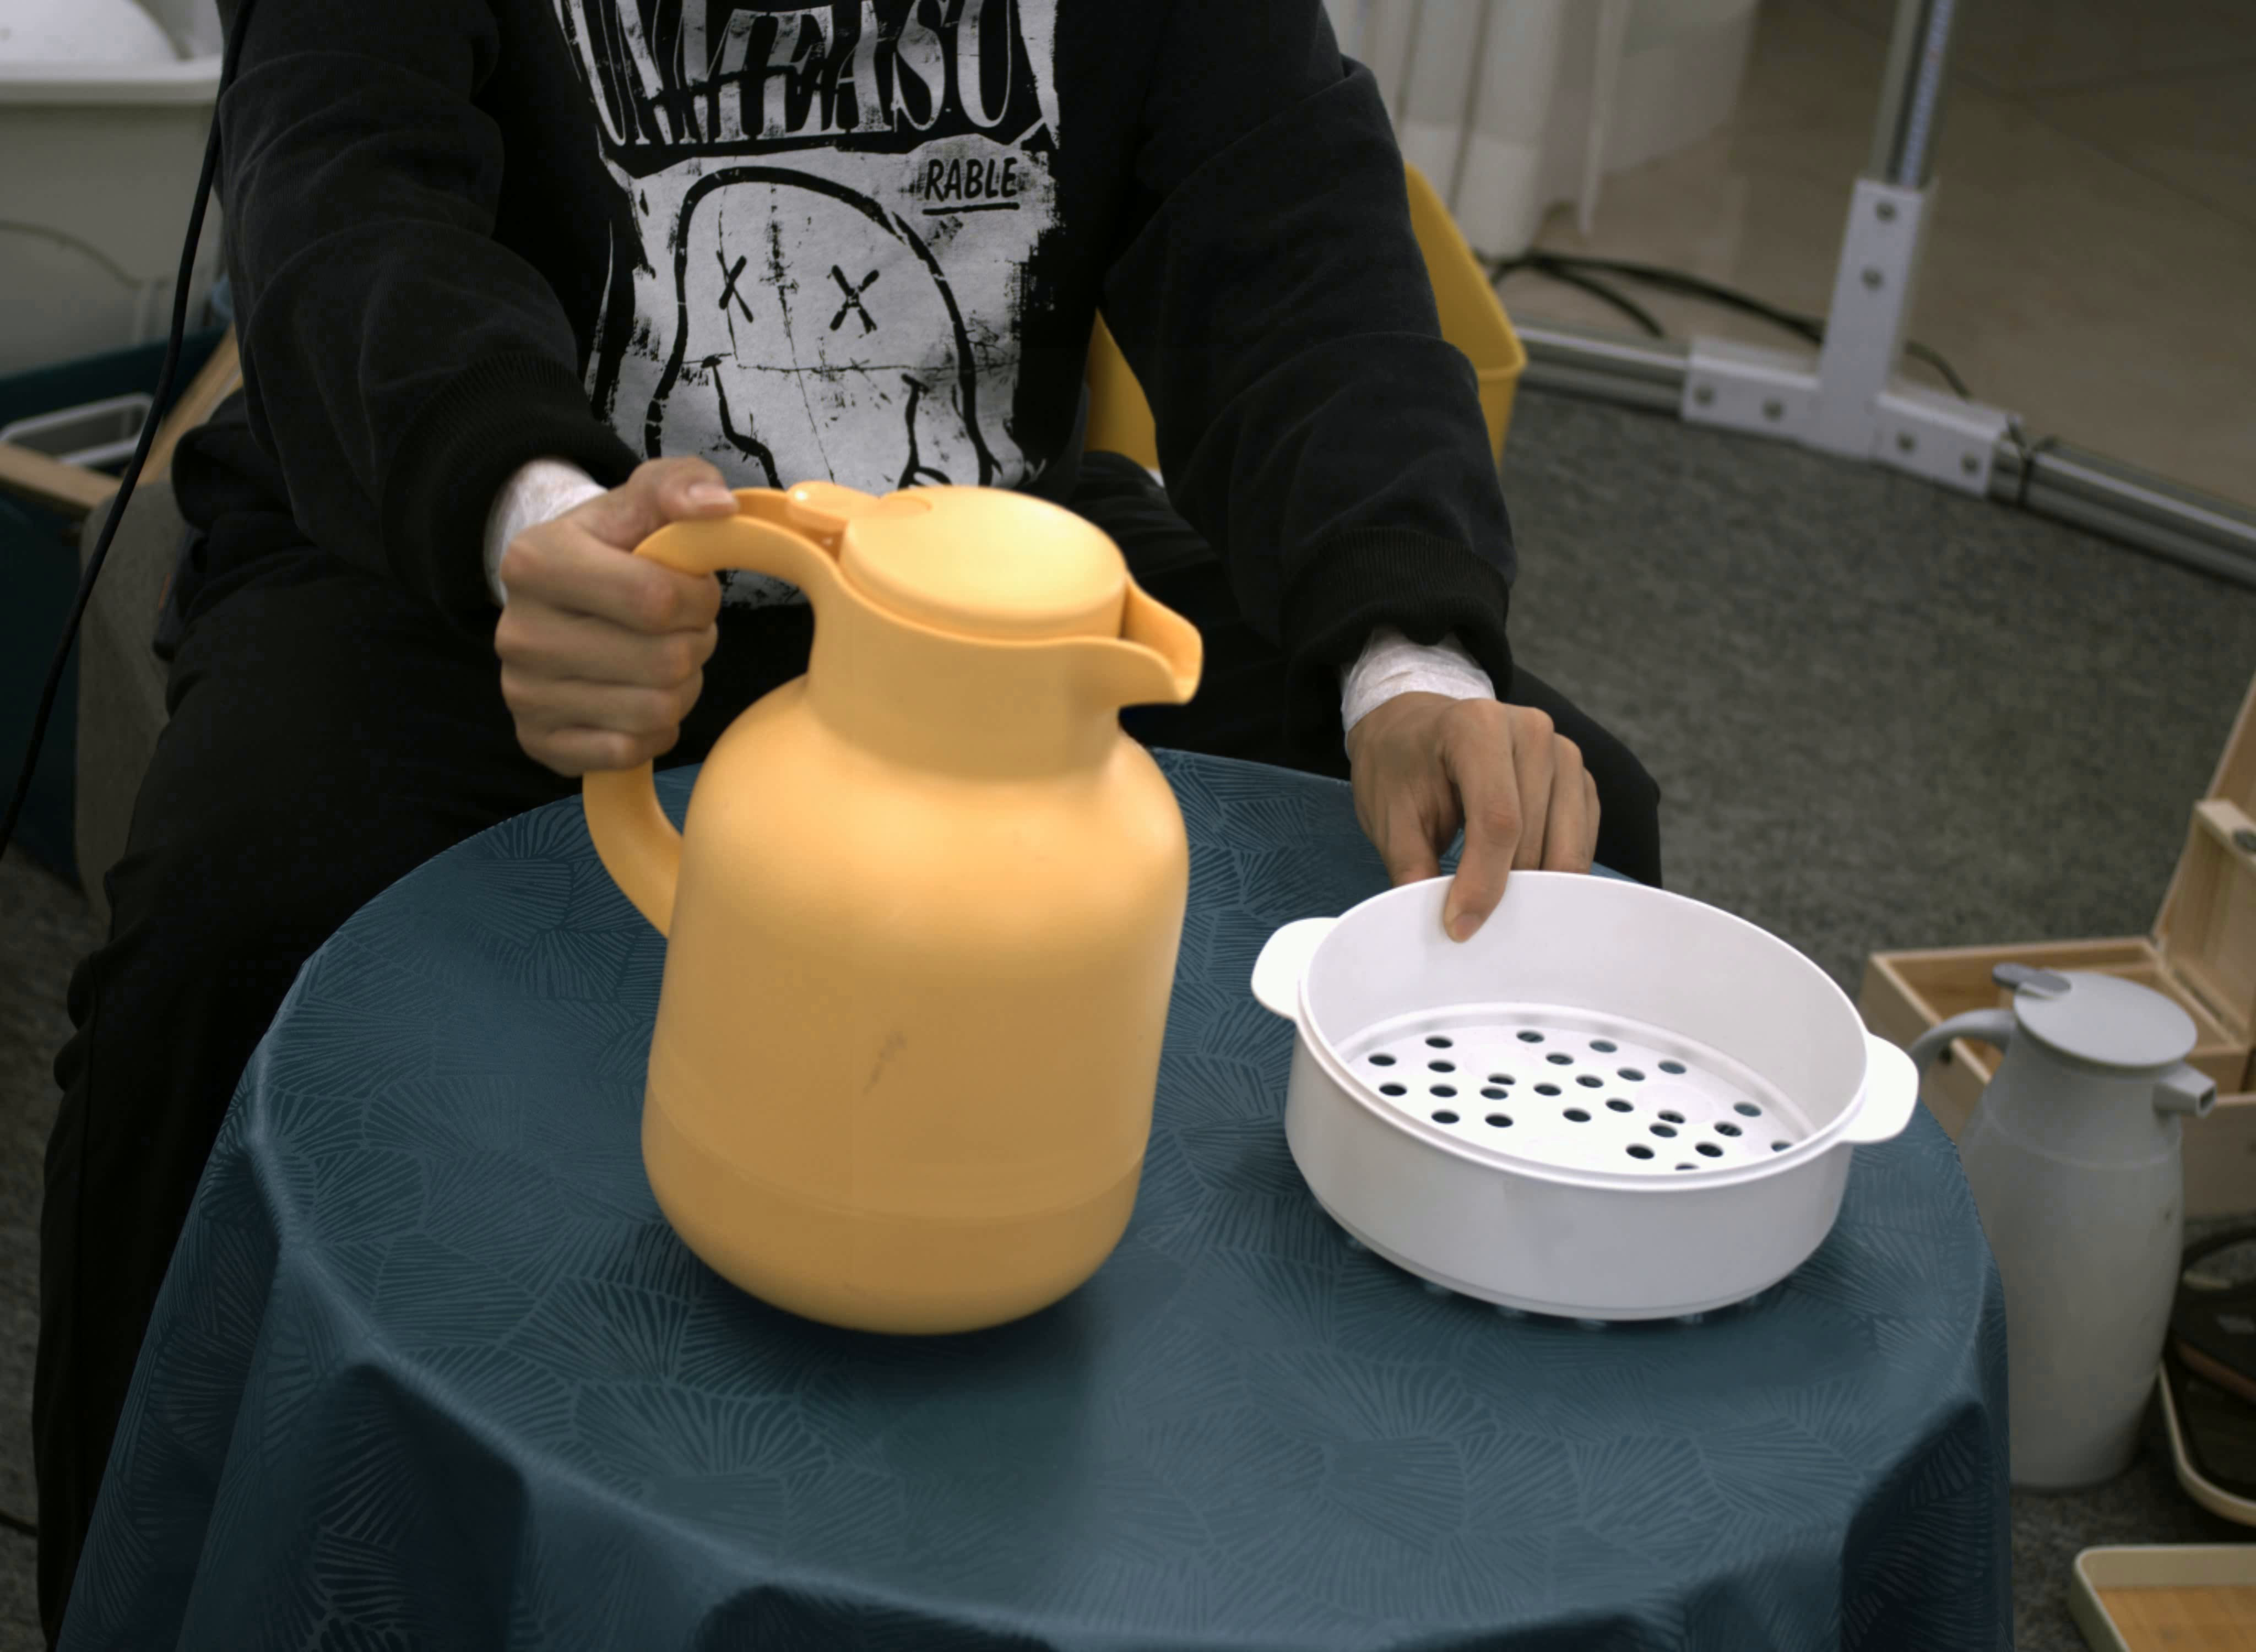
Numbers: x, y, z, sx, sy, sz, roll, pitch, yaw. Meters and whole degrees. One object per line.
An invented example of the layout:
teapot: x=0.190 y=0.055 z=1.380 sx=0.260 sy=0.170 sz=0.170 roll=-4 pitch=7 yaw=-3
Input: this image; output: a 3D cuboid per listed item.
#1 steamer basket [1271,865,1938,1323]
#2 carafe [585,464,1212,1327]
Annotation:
steamer basket: x=0.157 y=0.092 z=1.819 sx=0.230 sy=0.069 sz=0.202 roll=15 pitch=30 yaw=9
carafe: x=-0.080 y=0.011 z=1.689 sx=0.203 sy=0.260 sz=0.163 roll=22 pitch=26 yaw=18
